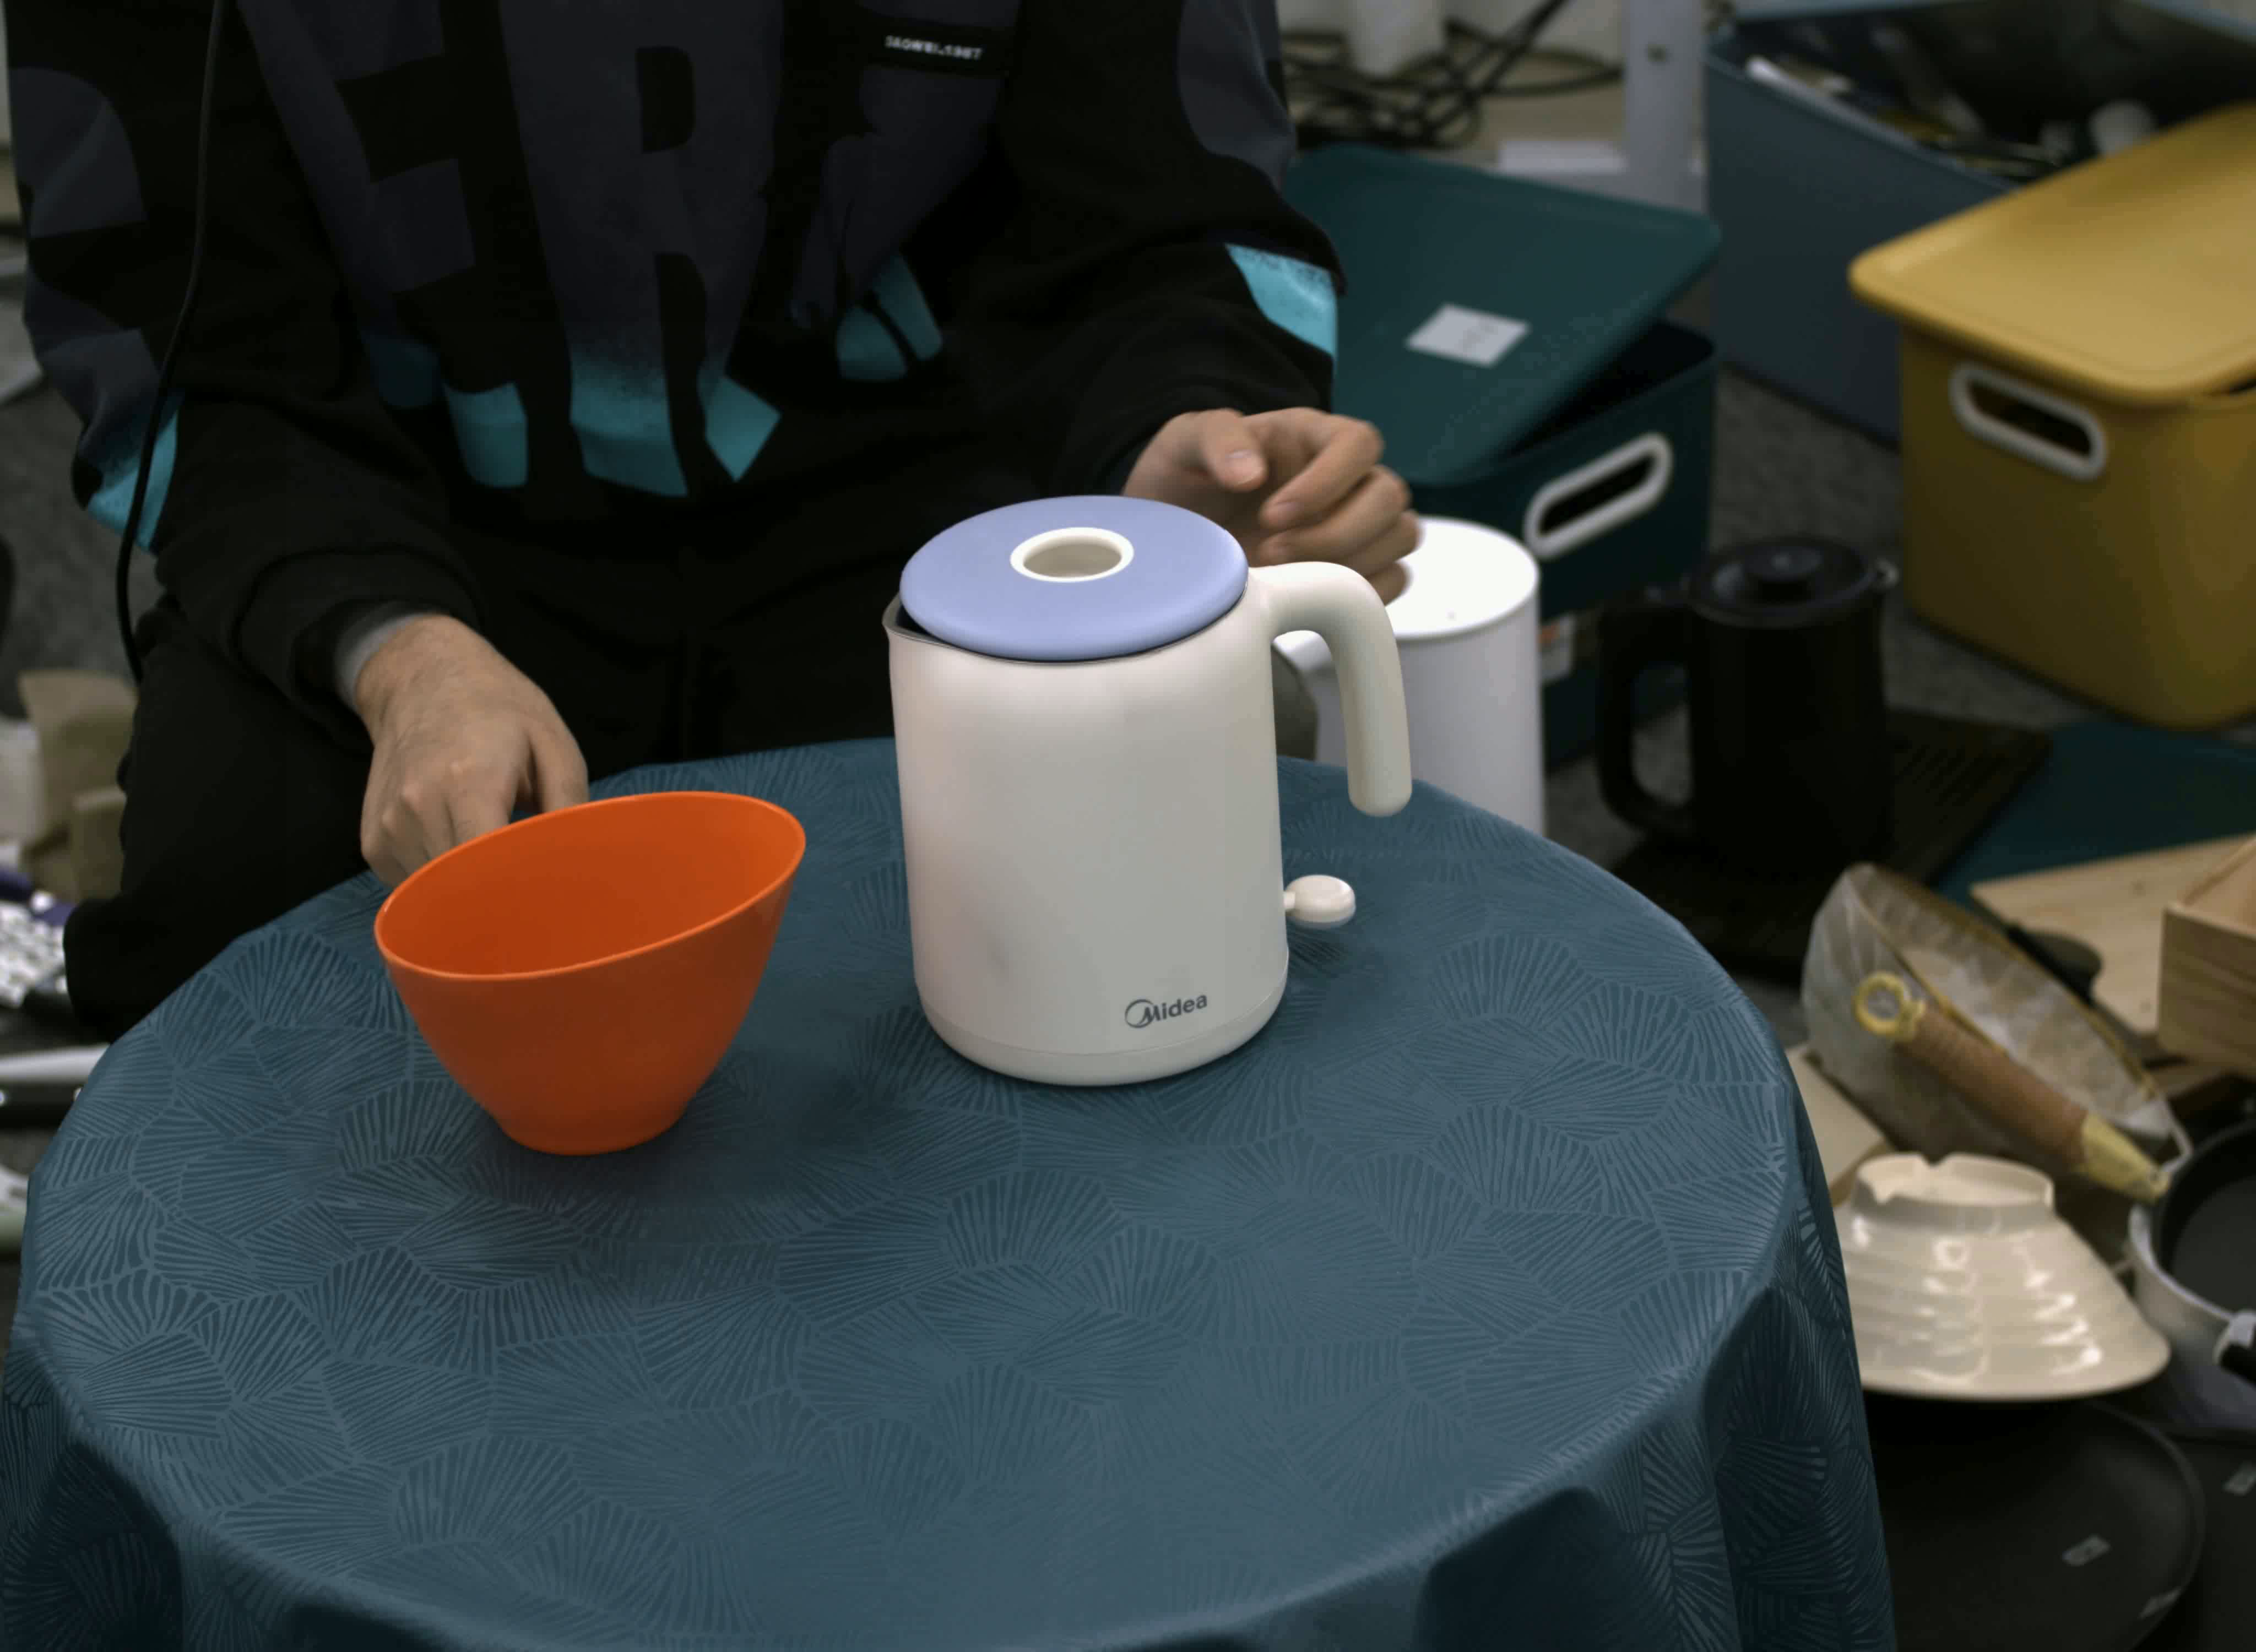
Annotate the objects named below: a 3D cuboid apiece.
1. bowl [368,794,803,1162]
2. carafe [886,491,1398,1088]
[{"bbox_3d":[-0.180,0.056,1.895,0.147,0.103,0.150,-2,28,1],"label":"bowl"},{"bbox_3d":[0.008,-0.018,1.946,0.192,0.180,0.133,-11,29,-21],"label":"carafe"}]
